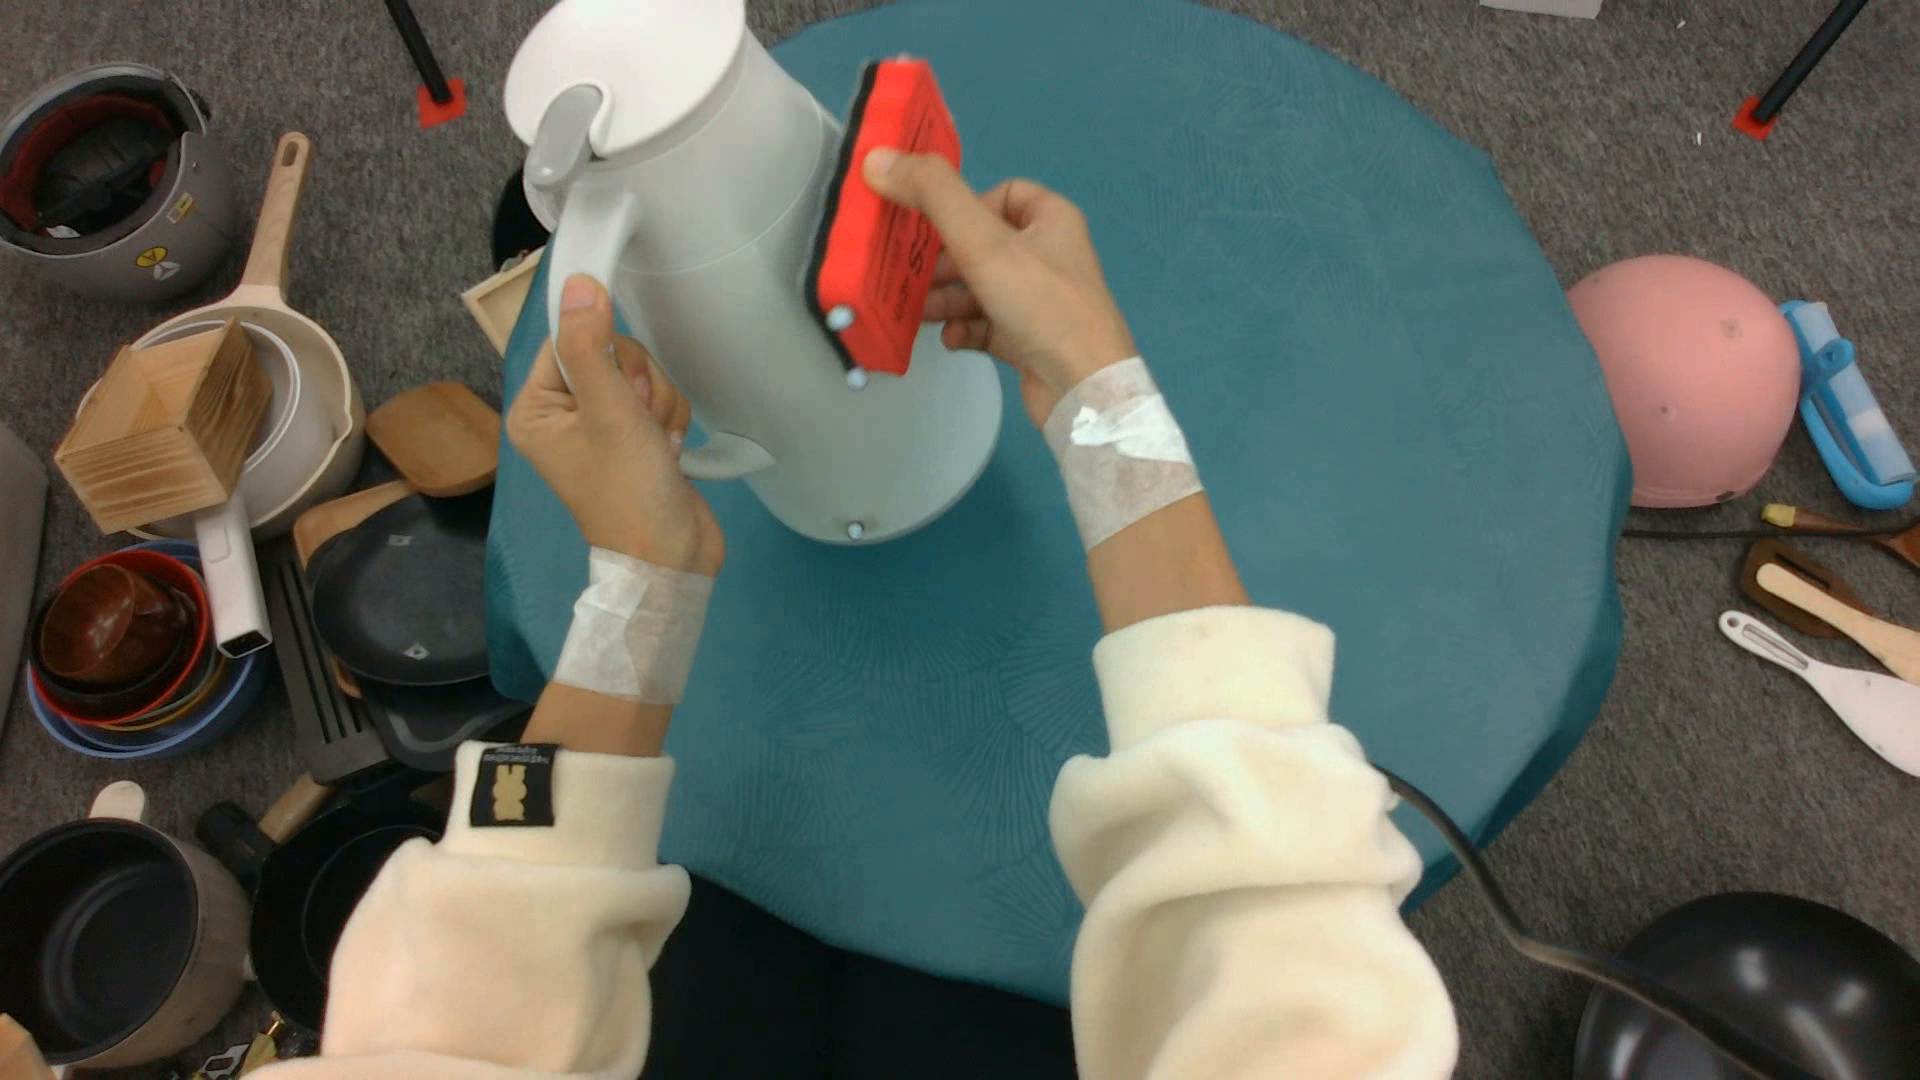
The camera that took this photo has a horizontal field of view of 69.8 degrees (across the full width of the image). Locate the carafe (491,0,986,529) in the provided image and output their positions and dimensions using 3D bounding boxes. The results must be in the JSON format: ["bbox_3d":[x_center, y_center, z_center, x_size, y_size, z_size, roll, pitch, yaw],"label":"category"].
[{"bbox_3d":[-0.092,-0.102,0.563,0.132,0.248,0.168,12,68,24],"label":"carafe"}]

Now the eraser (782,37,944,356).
[{"bbox_3d":[-0.033,-0.124,0.497,0.023,0.059,0.108,5,67,18],"label":"eraser"}]
